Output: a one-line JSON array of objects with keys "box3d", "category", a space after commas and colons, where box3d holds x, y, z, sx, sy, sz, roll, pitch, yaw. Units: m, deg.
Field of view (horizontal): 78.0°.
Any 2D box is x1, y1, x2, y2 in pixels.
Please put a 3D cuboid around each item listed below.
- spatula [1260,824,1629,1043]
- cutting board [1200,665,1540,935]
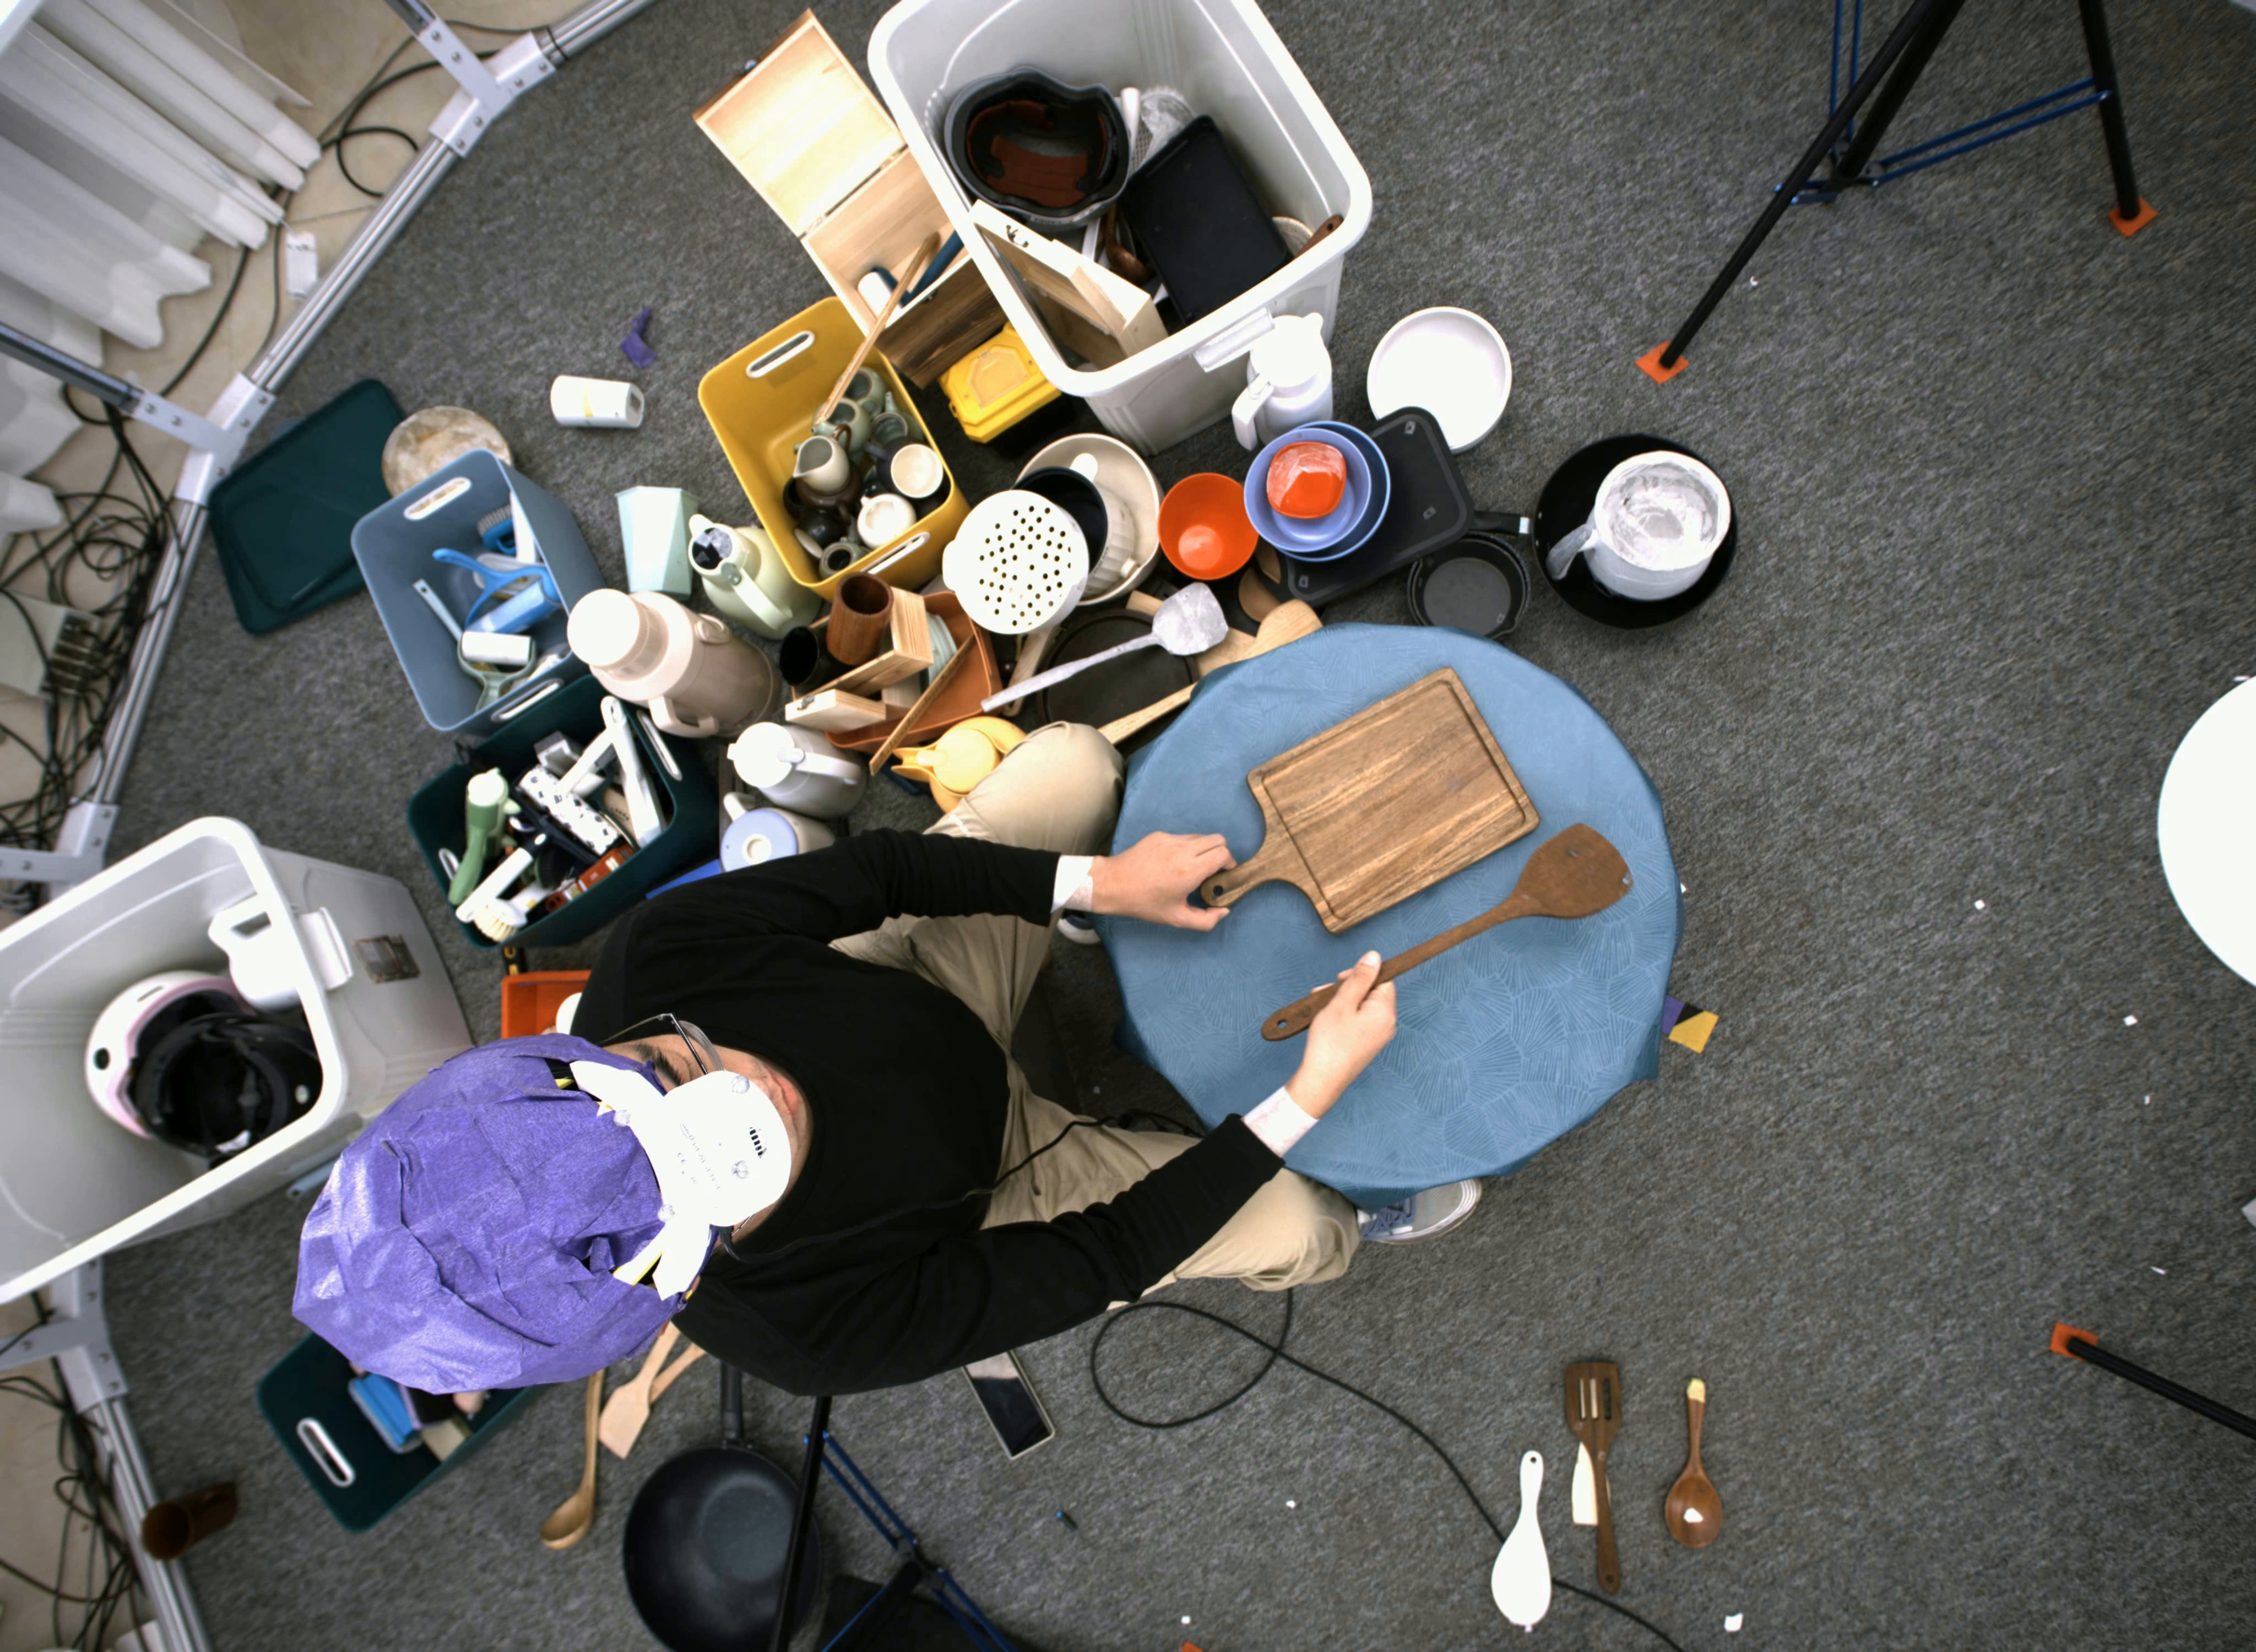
[{"box3d": [0.297, 0.110, 1.324, 0.386, 0.016, 0.094, -28, 50, 1], "category": "spatula"}, {"box3d": [0.232, -0.006, 1.452, 0.353, 0.023, 0.200, -29, 82, 5], "category": "cutting board"}]
